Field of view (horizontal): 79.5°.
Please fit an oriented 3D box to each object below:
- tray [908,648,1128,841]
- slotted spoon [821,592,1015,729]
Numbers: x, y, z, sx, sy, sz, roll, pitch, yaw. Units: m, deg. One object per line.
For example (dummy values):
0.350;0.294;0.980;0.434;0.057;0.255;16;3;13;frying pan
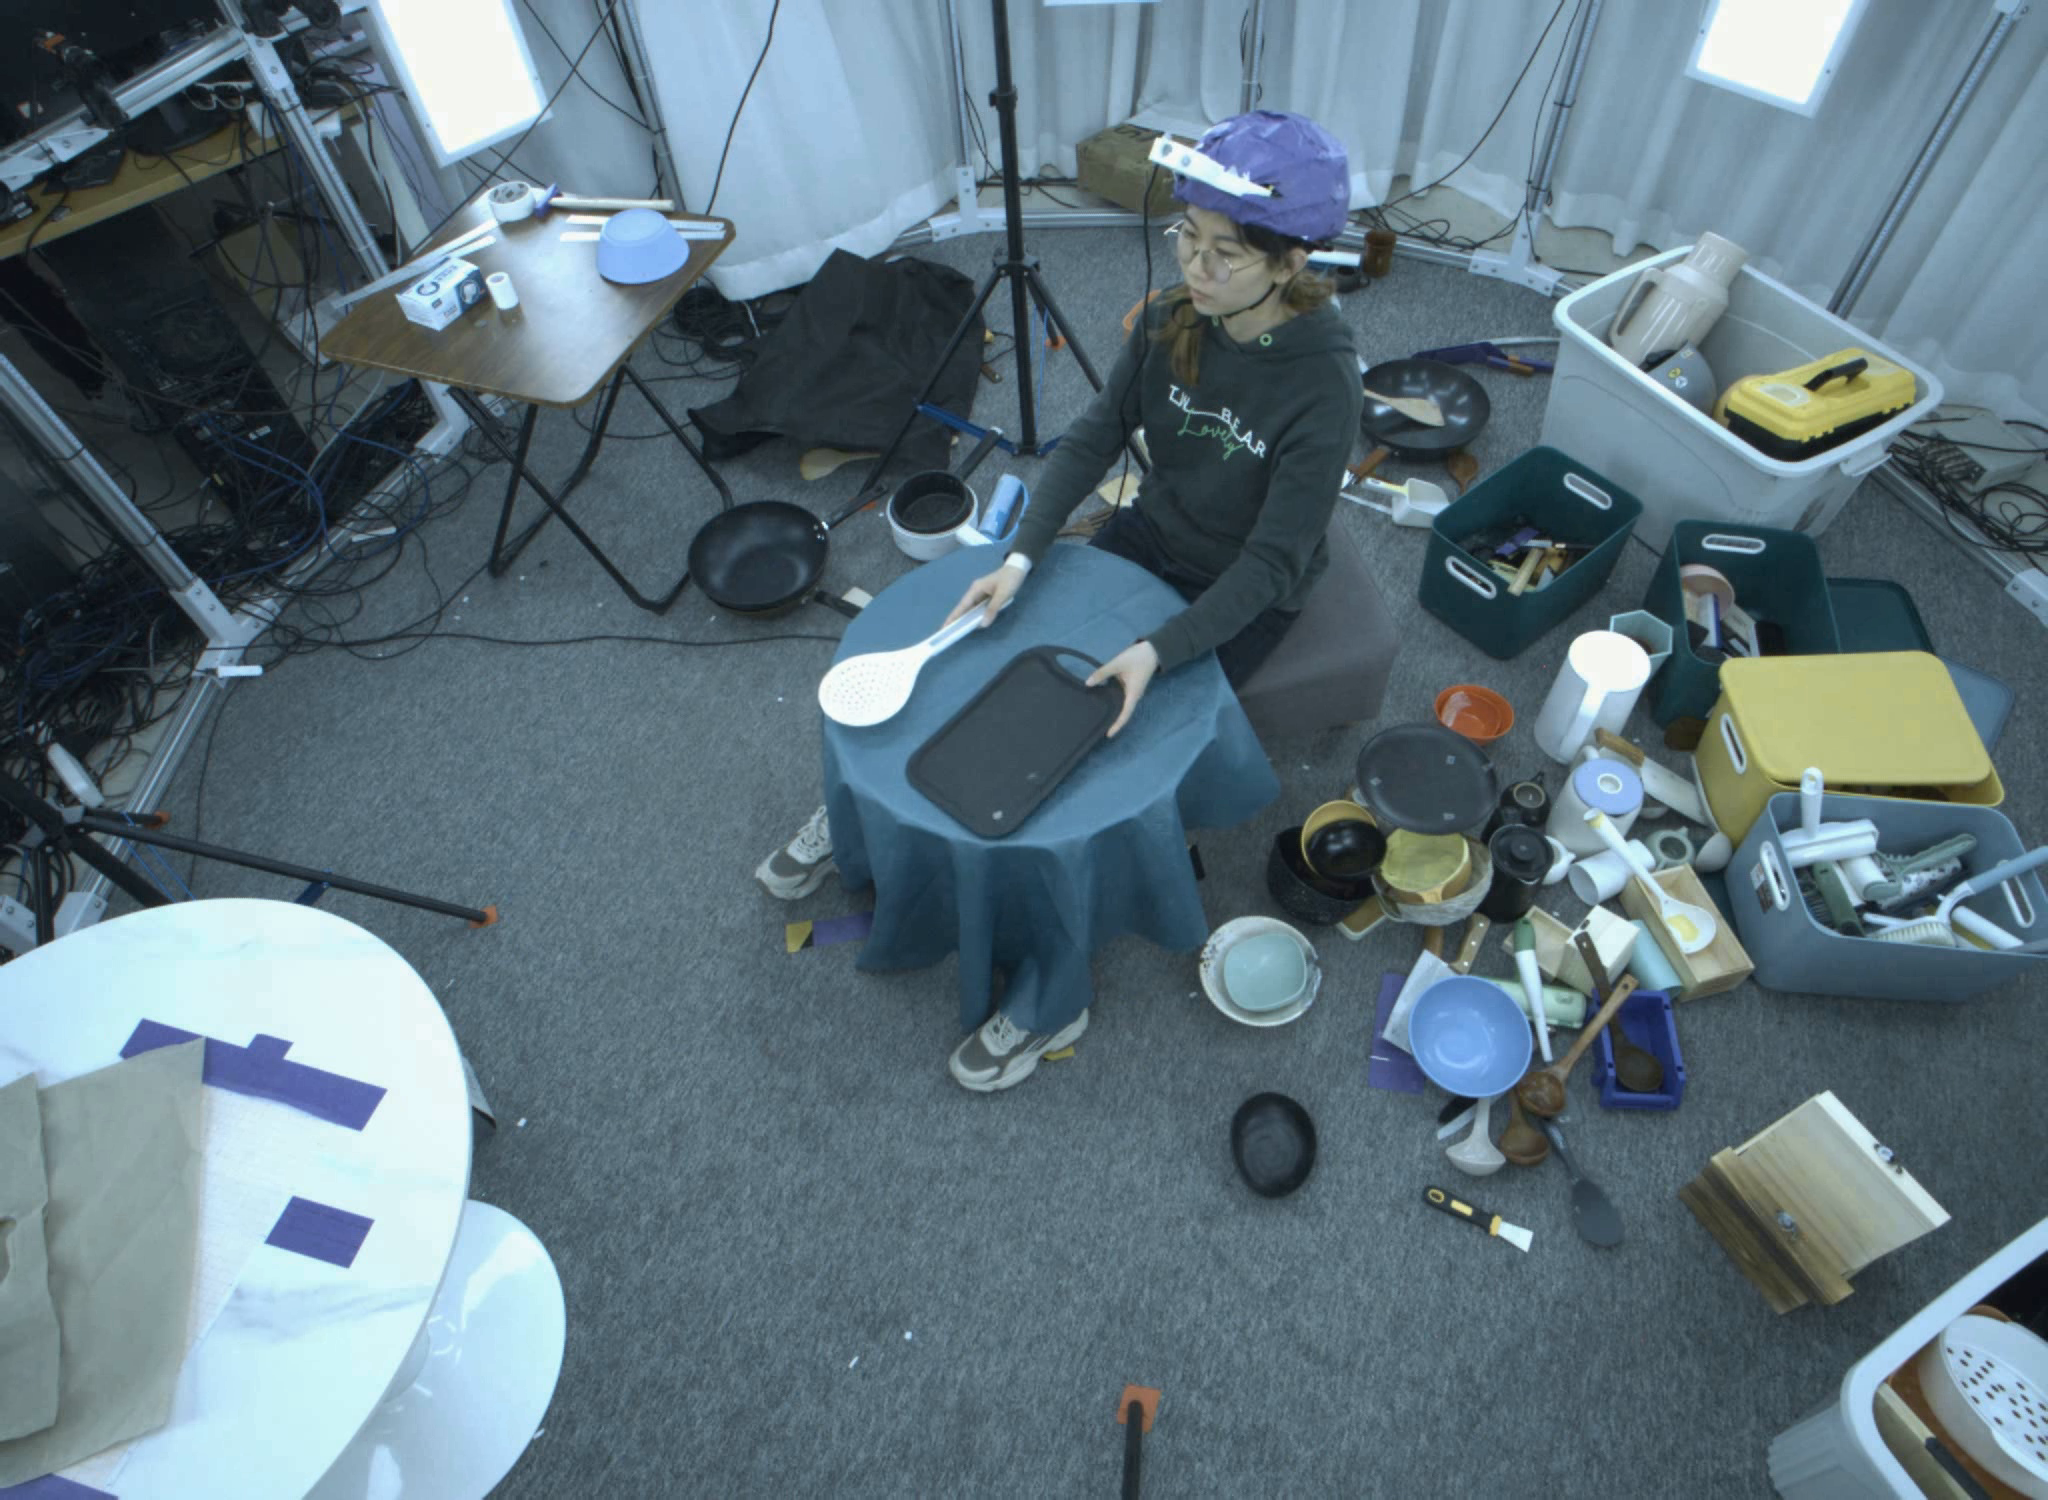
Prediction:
-0.004;-0.021;1.783;0.207;0.010;0.327;35;69;27;tray
-0.153;-0.143;1.862;0.352;0.046;0.133;-39;62;-18;slotted spoon
